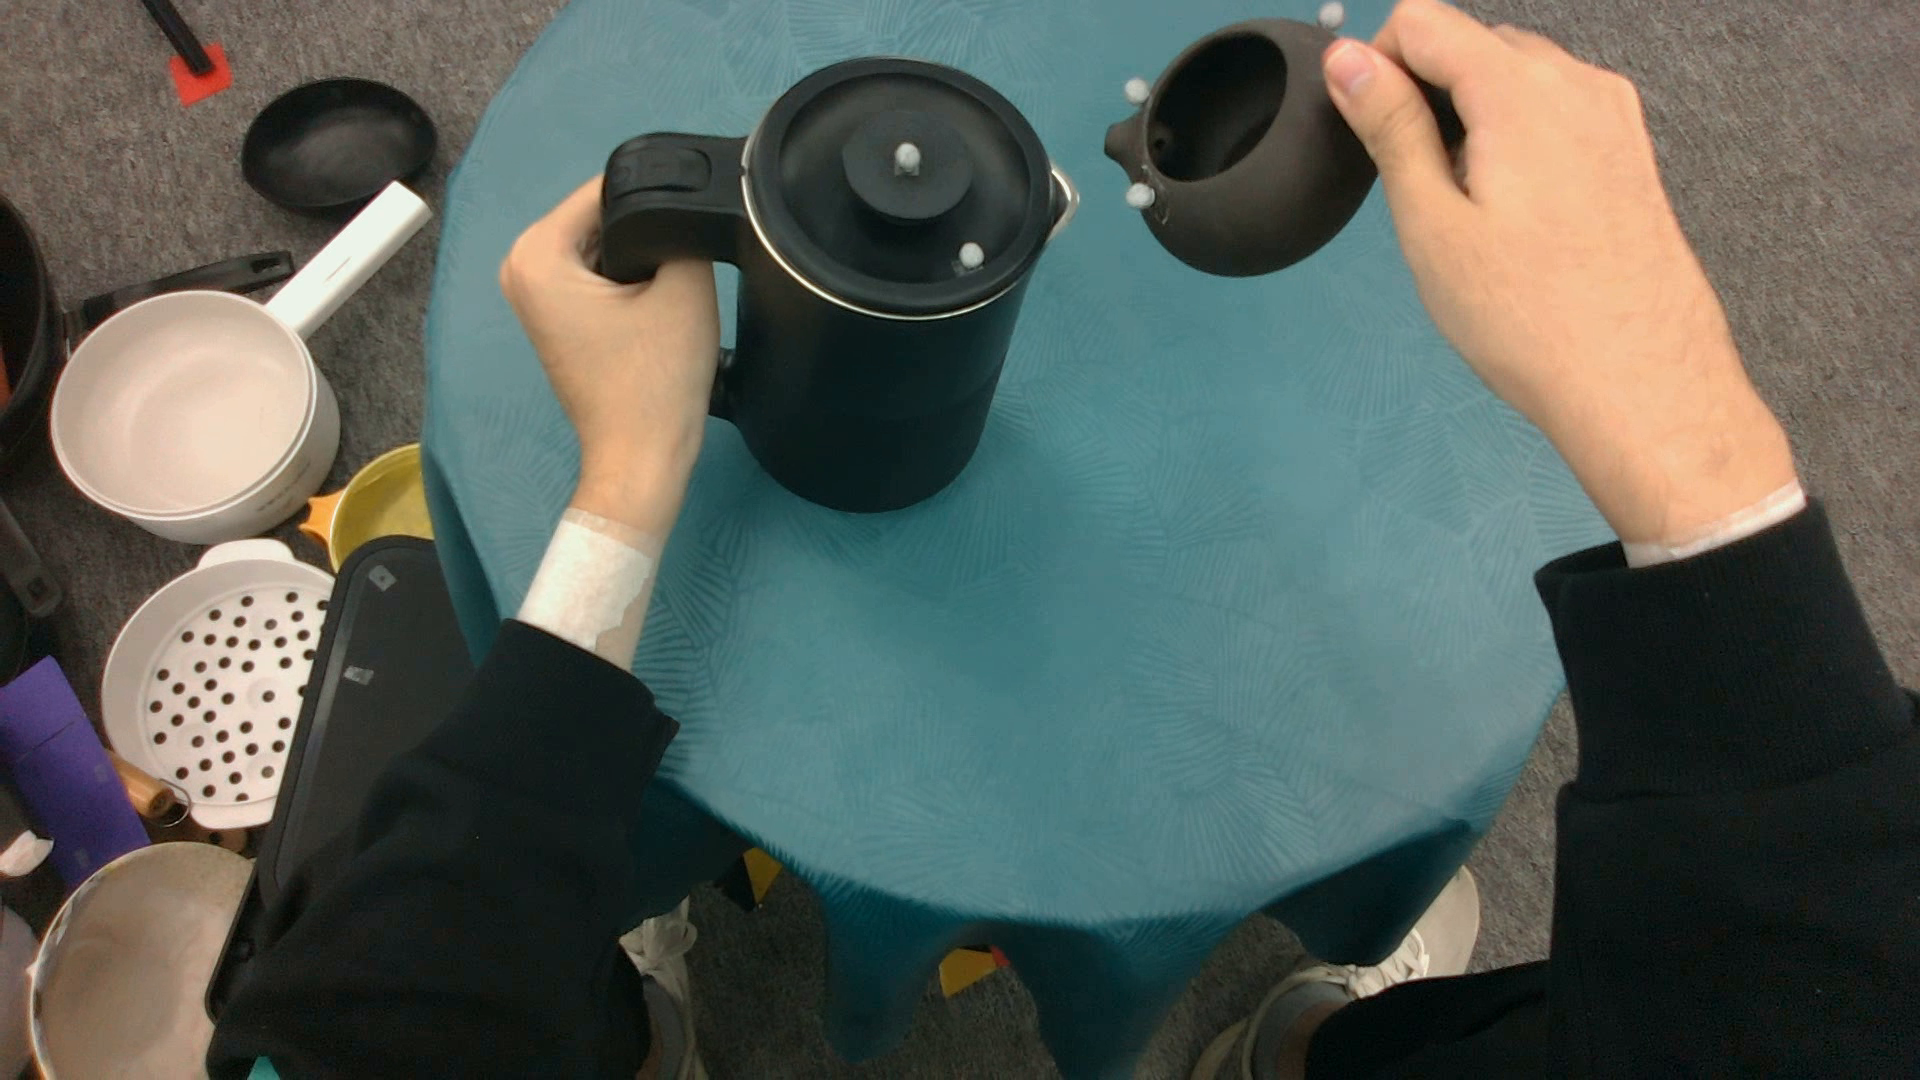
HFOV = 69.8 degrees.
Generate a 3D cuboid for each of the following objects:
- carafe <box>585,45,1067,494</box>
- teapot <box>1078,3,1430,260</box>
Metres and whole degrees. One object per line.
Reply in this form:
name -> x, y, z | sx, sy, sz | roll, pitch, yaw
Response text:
carafe -> -0.060, -0.102, 0.541 | 0.172, 0.172, 0.115 | 1, 69, -13
teapot -> 0.093, -0.131, 0.438 | 0.053, 0.114, 0.083 | 21, 81, -43
